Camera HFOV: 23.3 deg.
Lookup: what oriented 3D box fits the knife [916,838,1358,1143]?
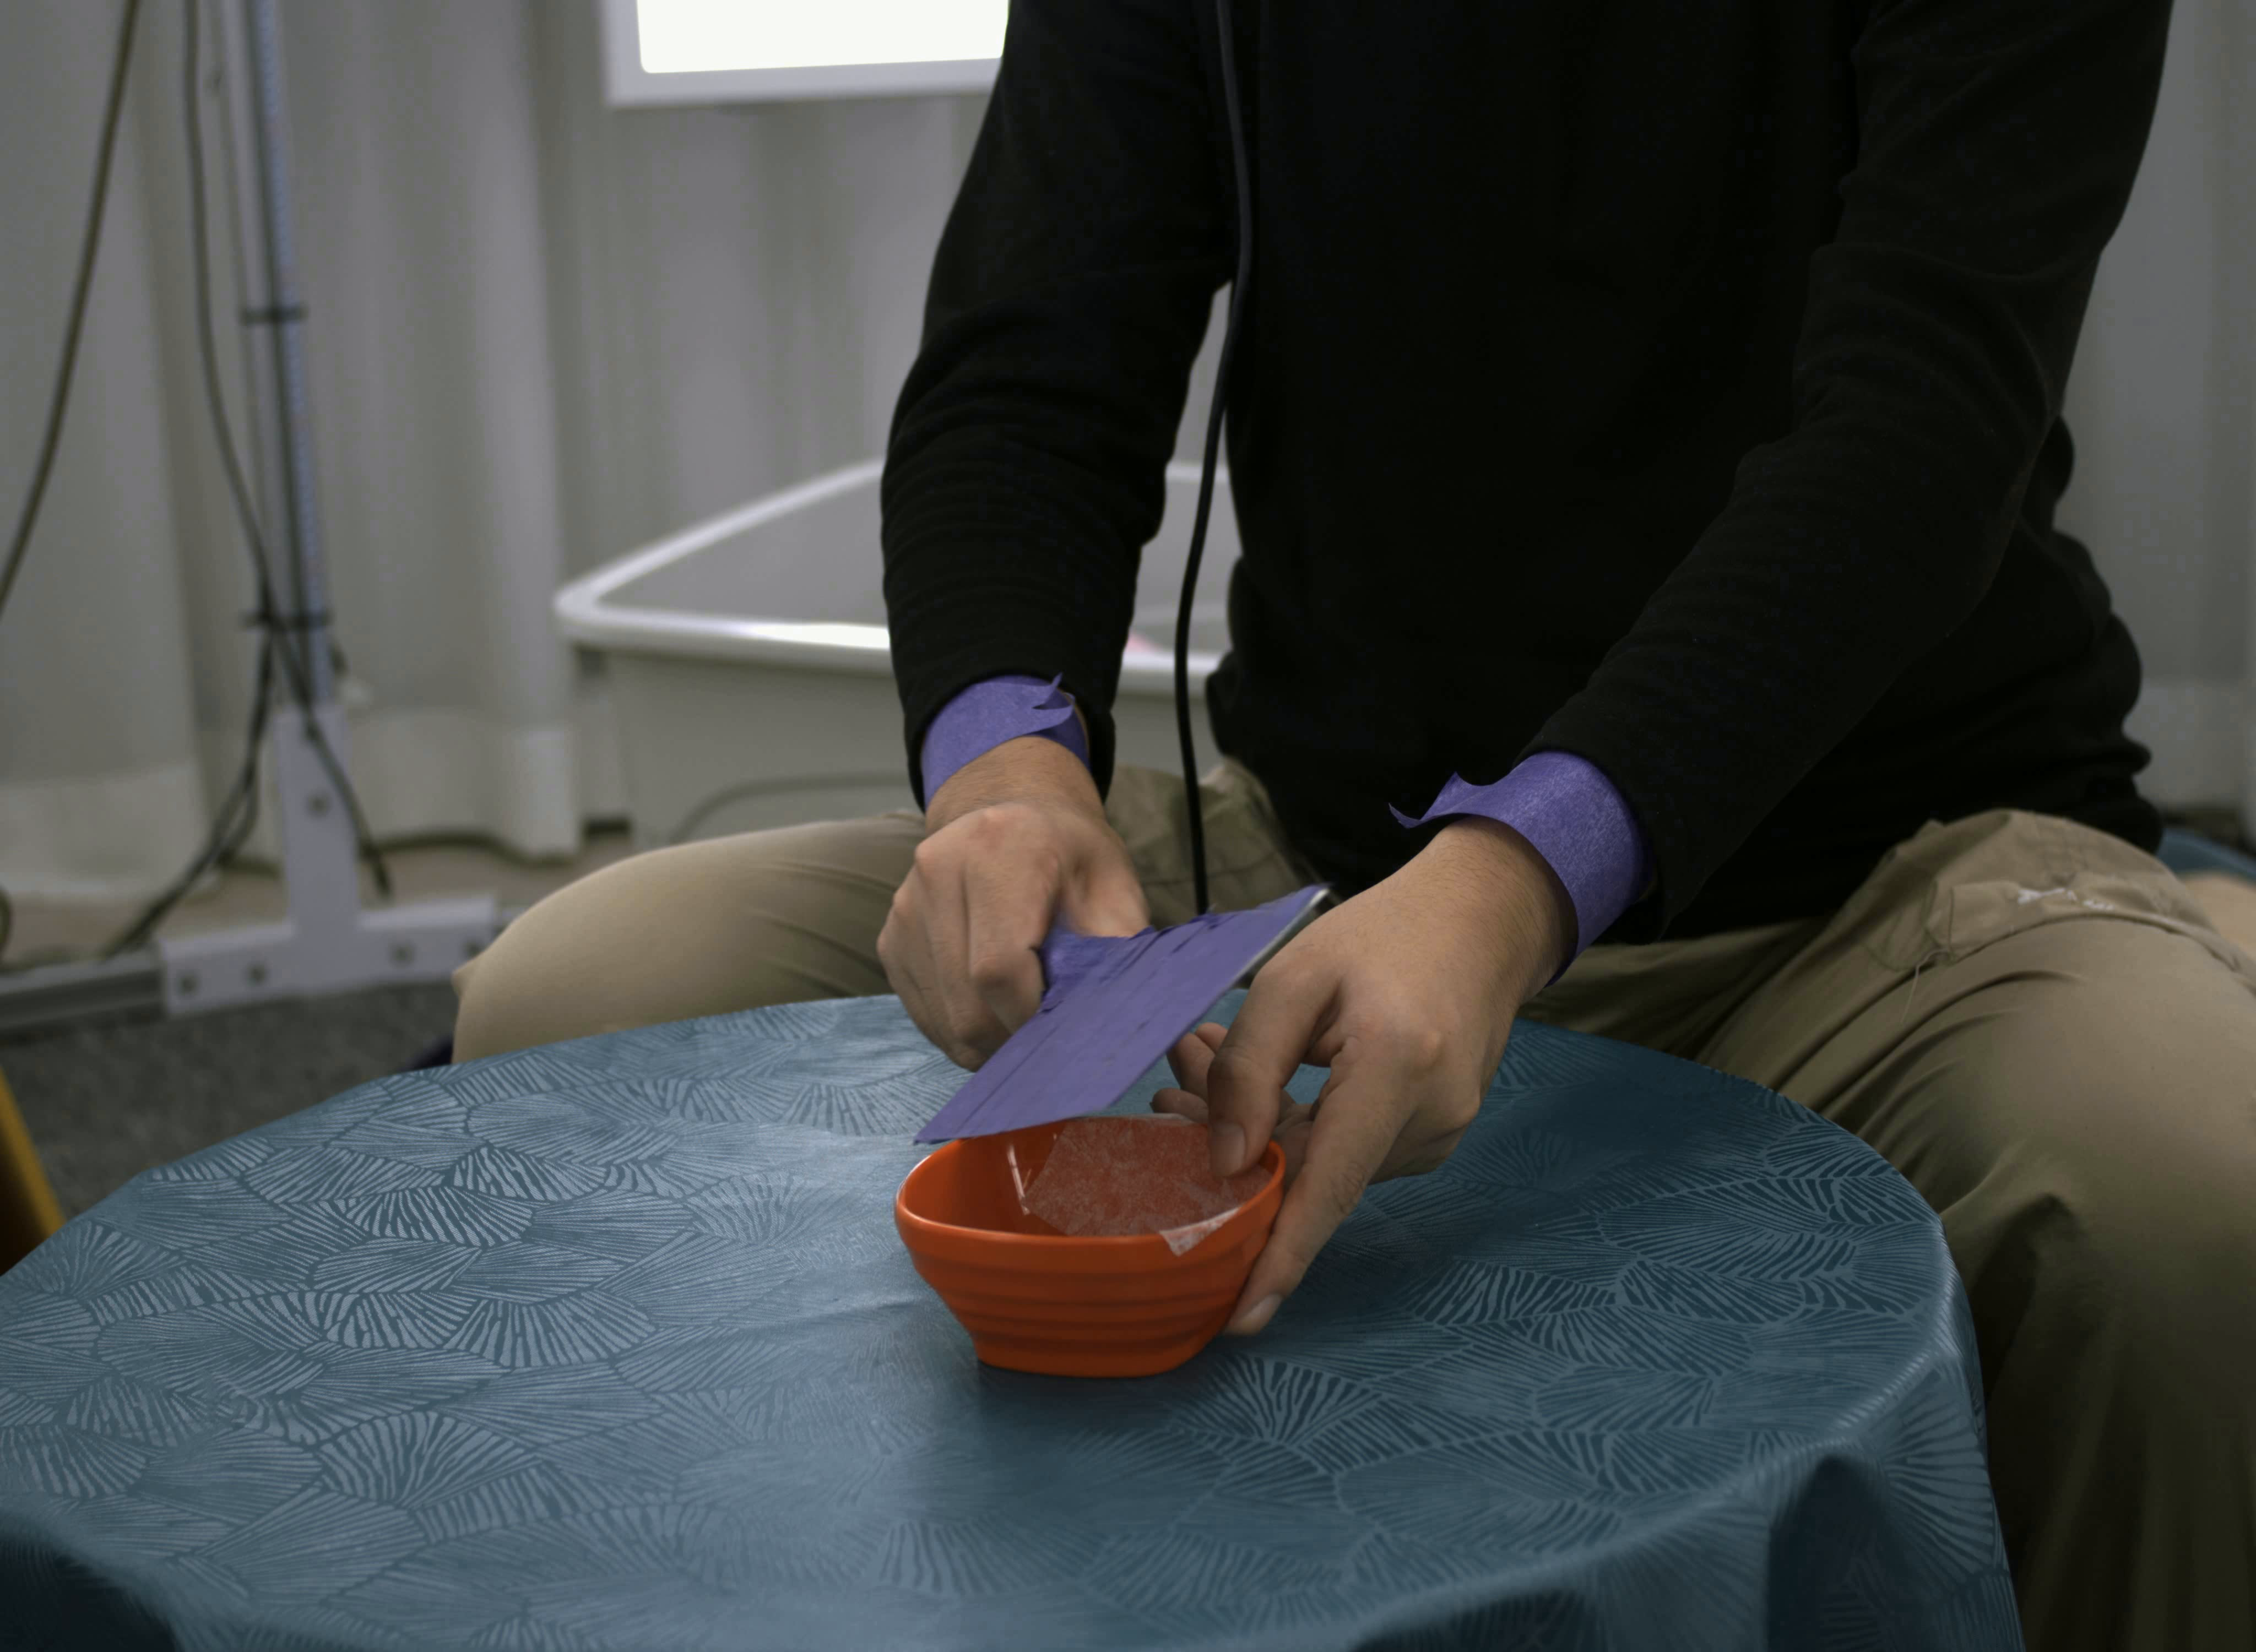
[{"bbox_3d":[-0.020,0.057,1.636,0.104,0.032,0.314,-44,6,-19],"label":"knife"}]

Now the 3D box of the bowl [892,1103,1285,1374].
[{"bbox_3d":[-0.009,0.122,1.580,0.118,0.051,0.120,-5,17,1],"label":"bowl"}]
